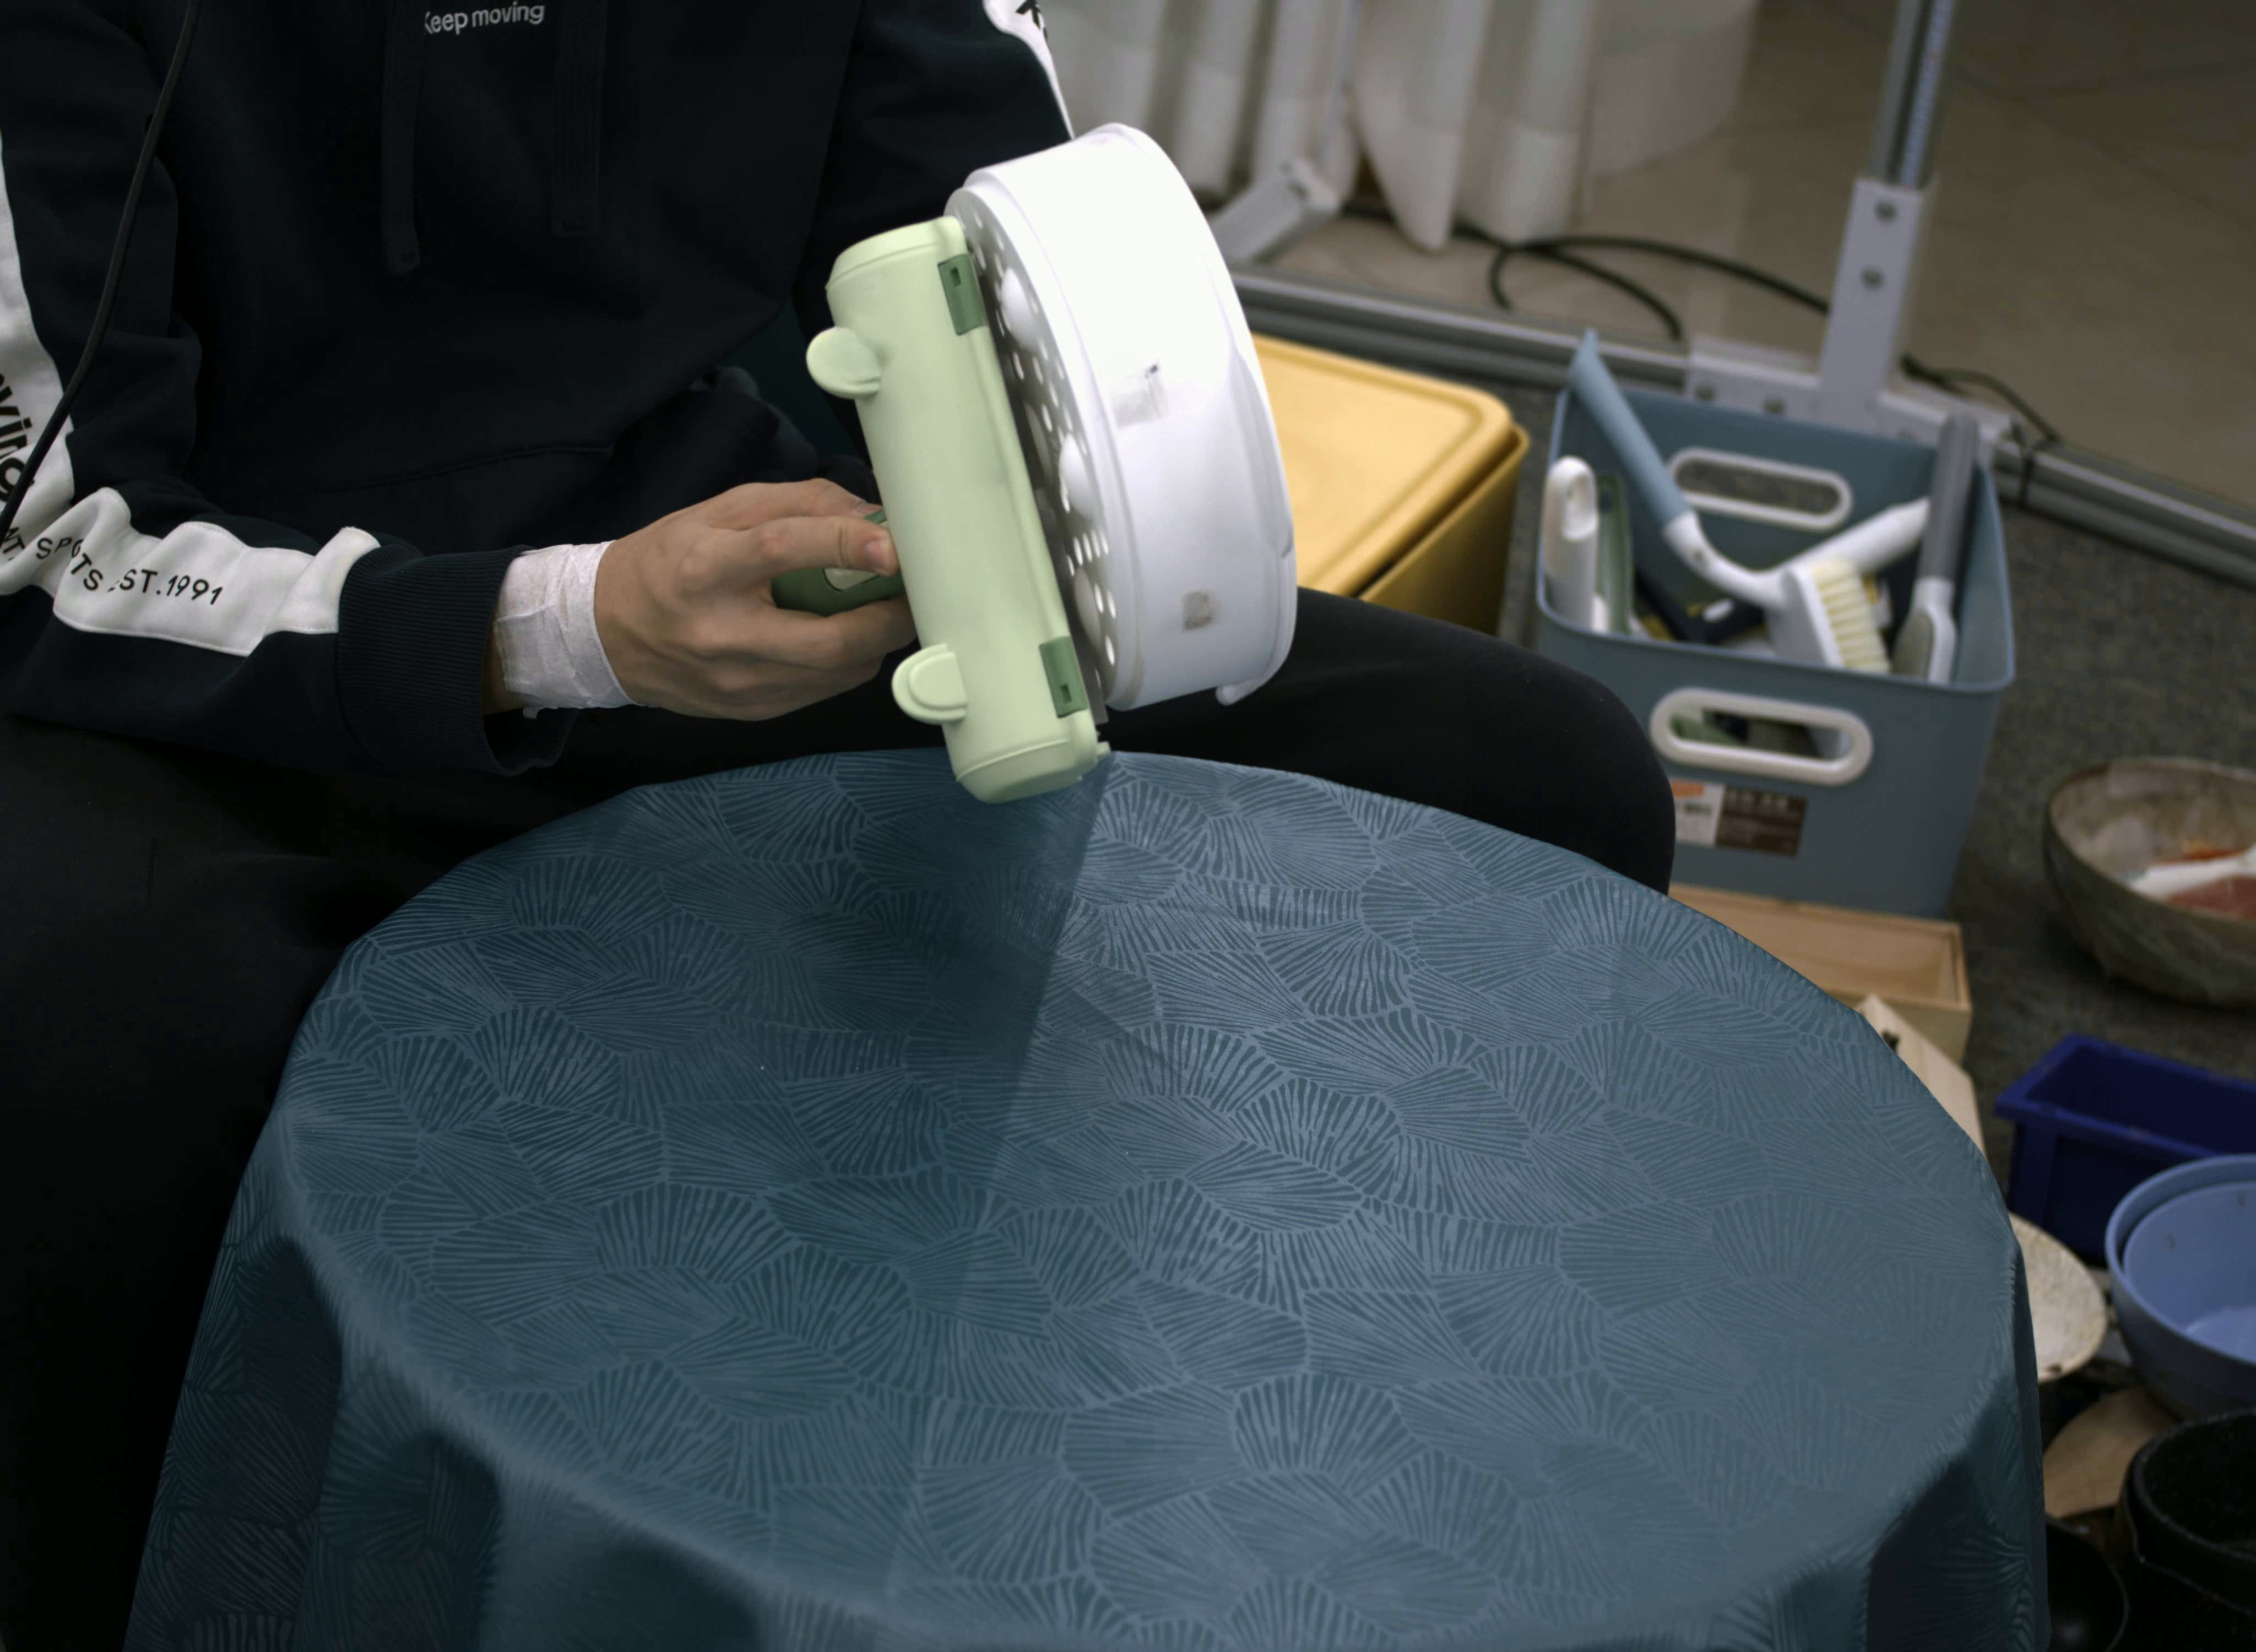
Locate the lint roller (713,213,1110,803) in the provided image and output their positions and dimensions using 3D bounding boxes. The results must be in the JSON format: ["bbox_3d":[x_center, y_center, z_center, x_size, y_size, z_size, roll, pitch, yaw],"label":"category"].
[{"bbox_3d":[-0.099,-0.091,1.844,0.183,0.199,0.081,-21,-9,39],"label":"lint roller"}]

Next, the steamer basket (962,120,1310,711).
[{"bbox_3d":[-0.001,-0.138,1.841,0.069,0.201,0.232,-18,17,-5],"label":"steamer basket"}]
